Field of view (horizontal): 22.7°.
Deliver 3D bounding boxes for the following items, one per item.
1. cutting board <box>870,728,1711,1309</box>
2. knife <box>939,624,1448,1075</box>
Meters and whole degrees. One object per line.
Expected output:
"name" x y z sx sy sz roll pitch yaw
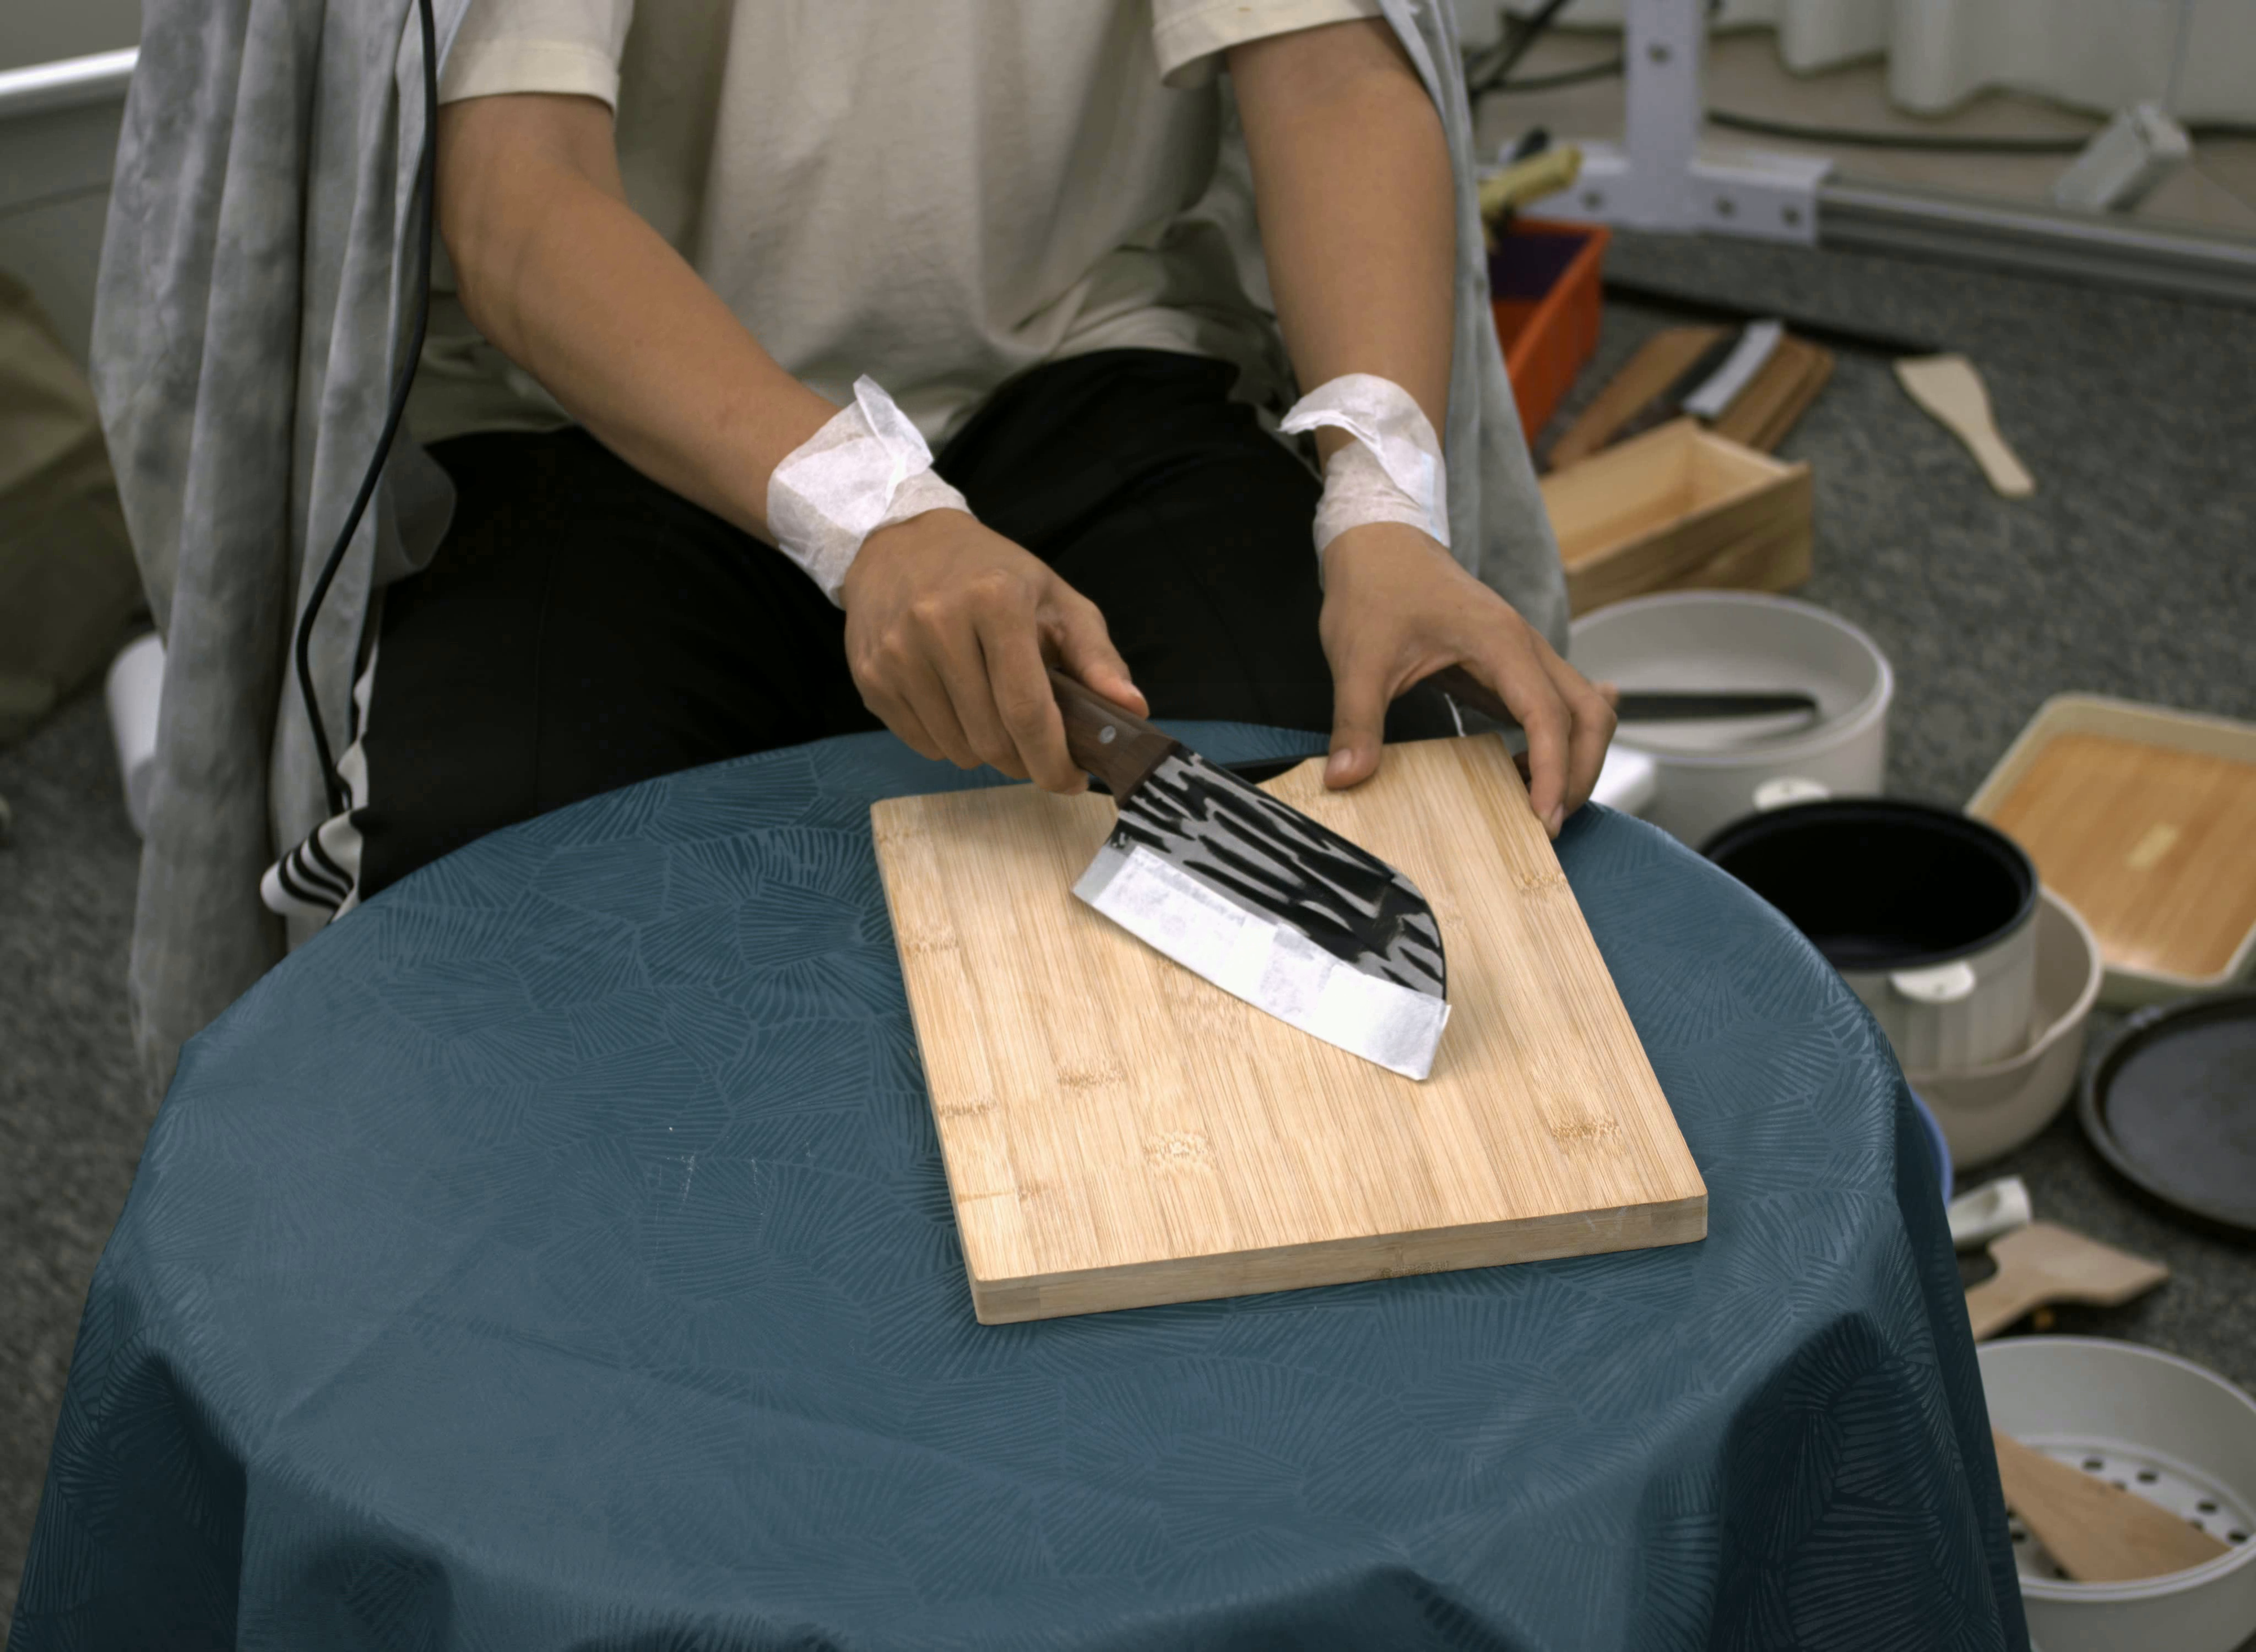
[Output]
"cutting board" 0.046 0.061 1.956 0.250 0.023 0.353 -6 27 -7
"knife" 0.017 0.006 1.983 0.300 0.024 0.068 32 84 42
